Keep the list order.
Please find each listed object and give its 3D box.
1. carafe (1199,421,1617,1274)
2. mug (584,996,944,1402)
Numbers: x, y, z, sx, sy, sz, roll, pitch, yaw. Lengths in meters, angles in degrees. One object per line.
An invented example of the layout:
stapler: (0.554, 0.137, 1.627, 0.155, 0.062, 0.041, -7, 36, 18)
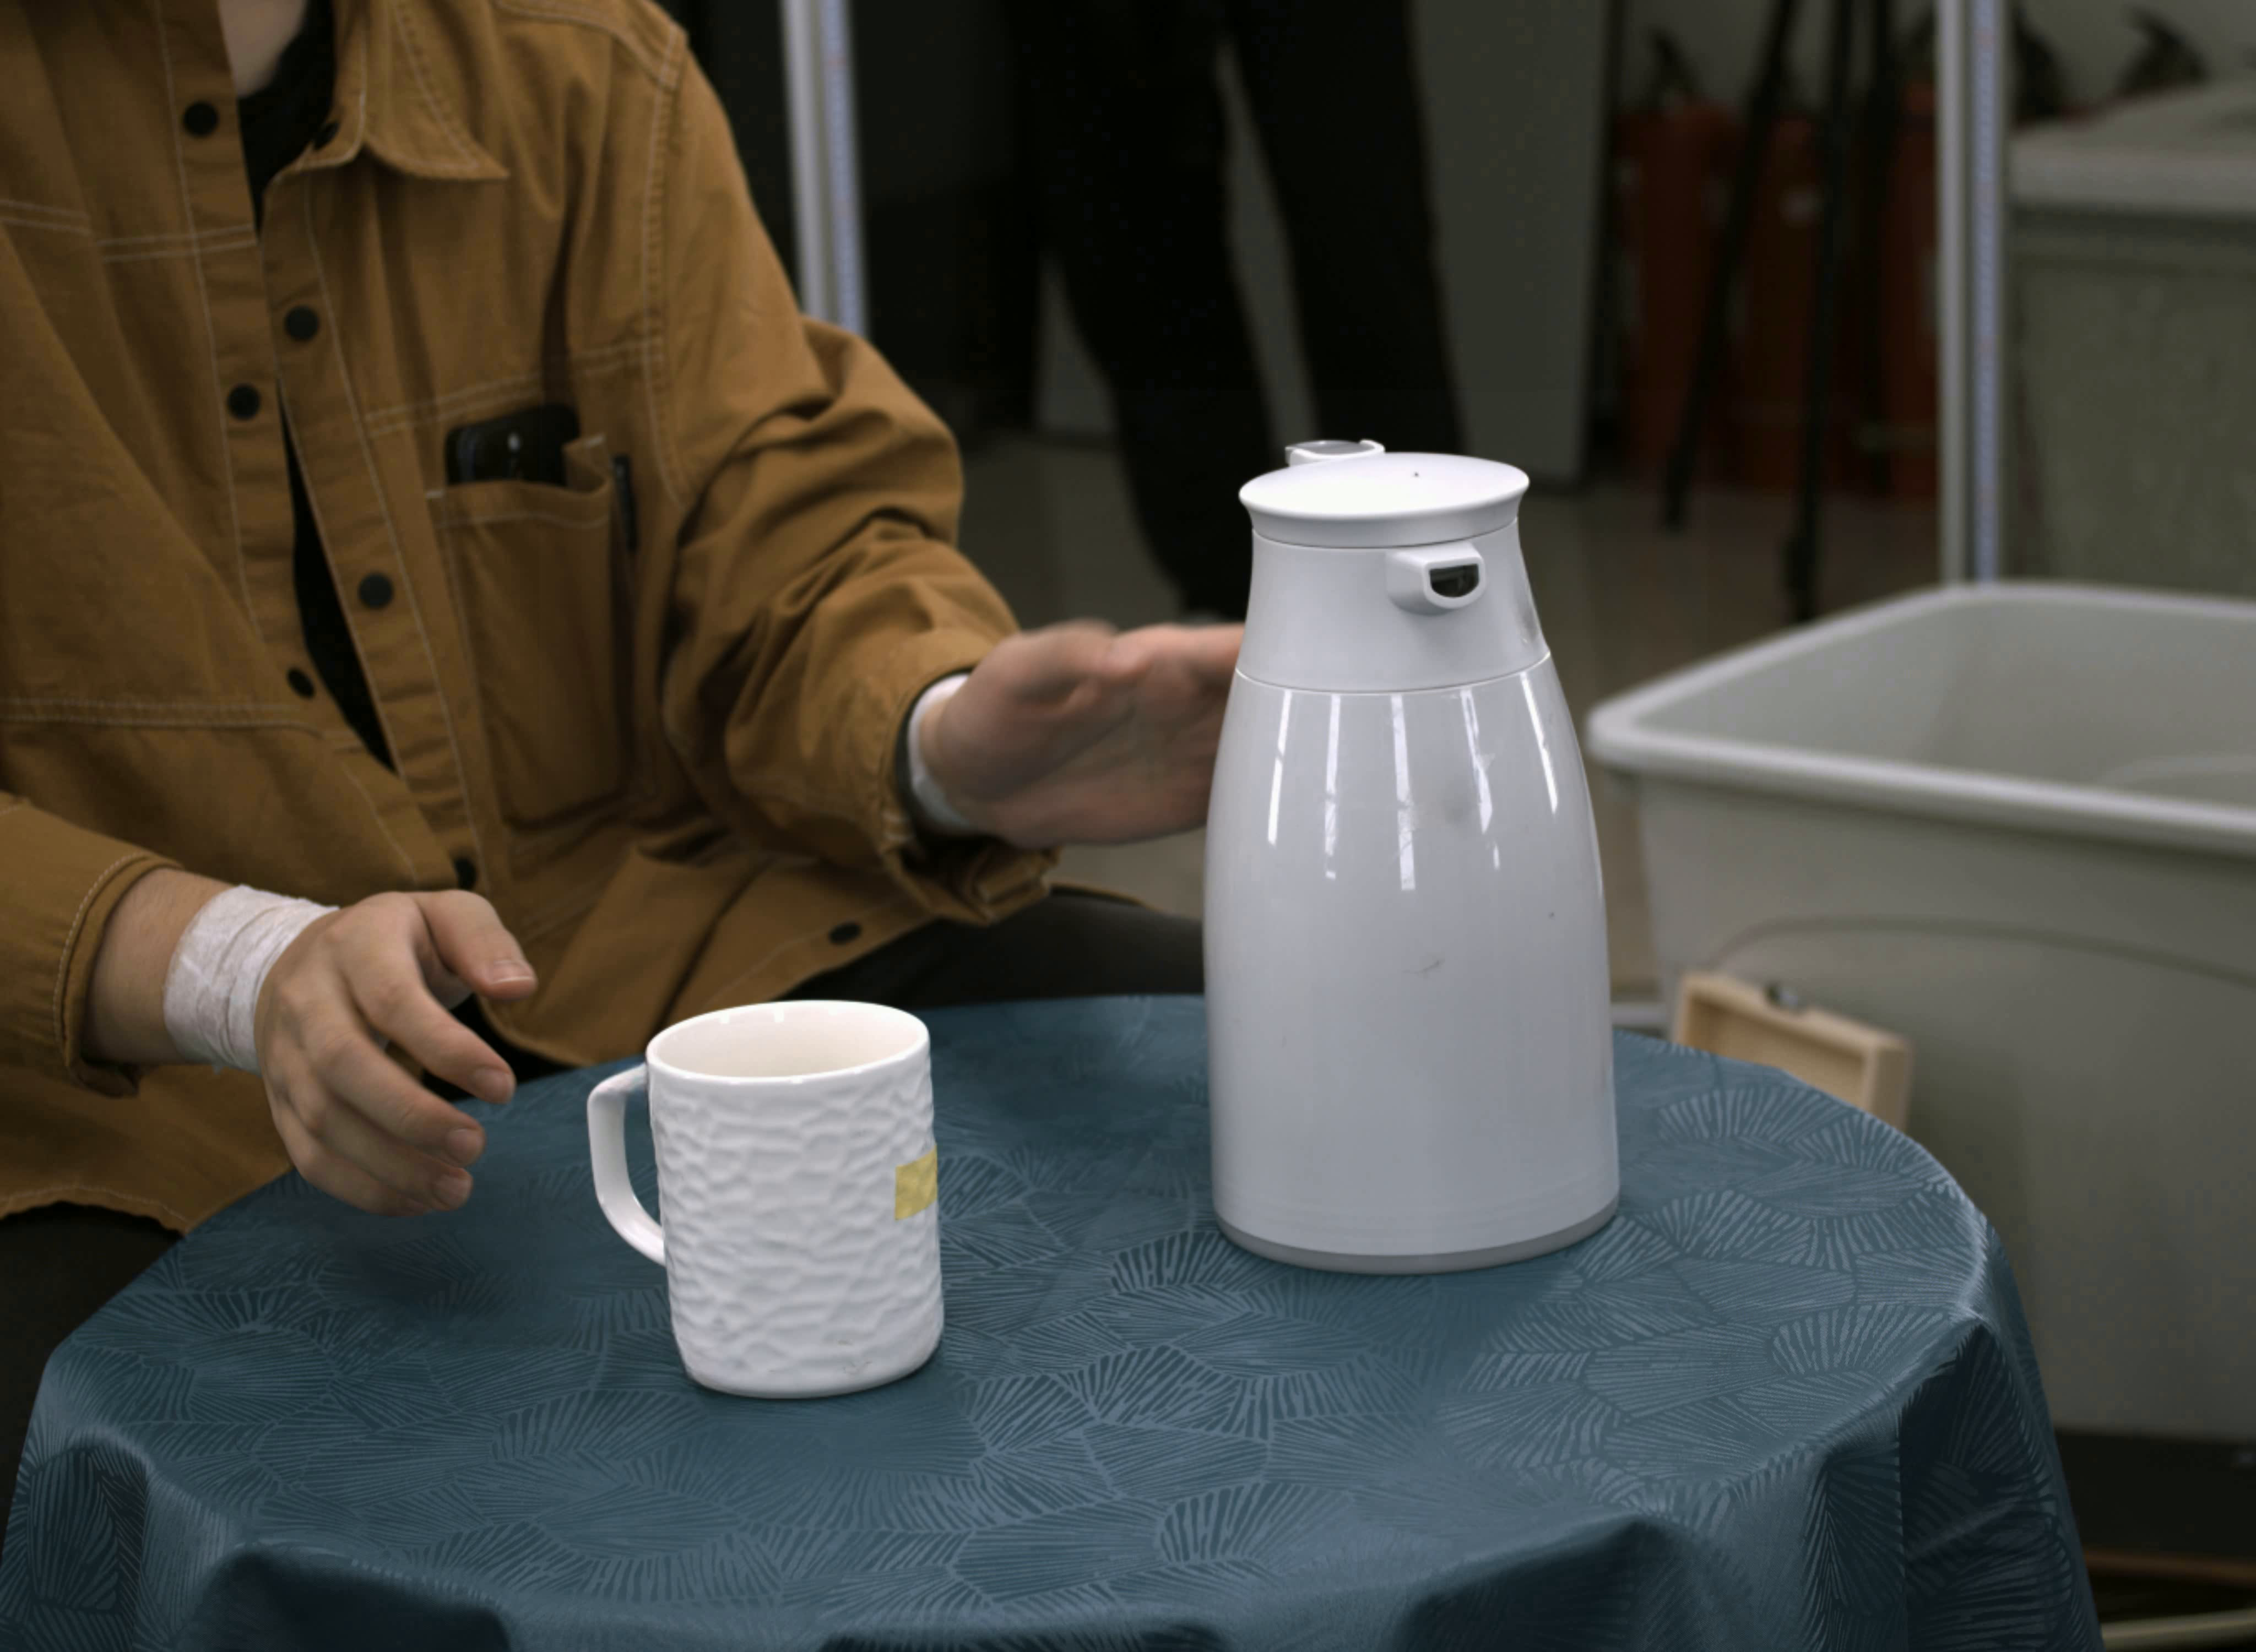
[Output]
carafe: (0.077, -0.001, 1.724, 0.130, 0.251, 0.169, -9, 14, -16)
mug: (-0.113, 0.111, 1.635, 0.119, 0.103, 0.083, 4, 16, 32)
